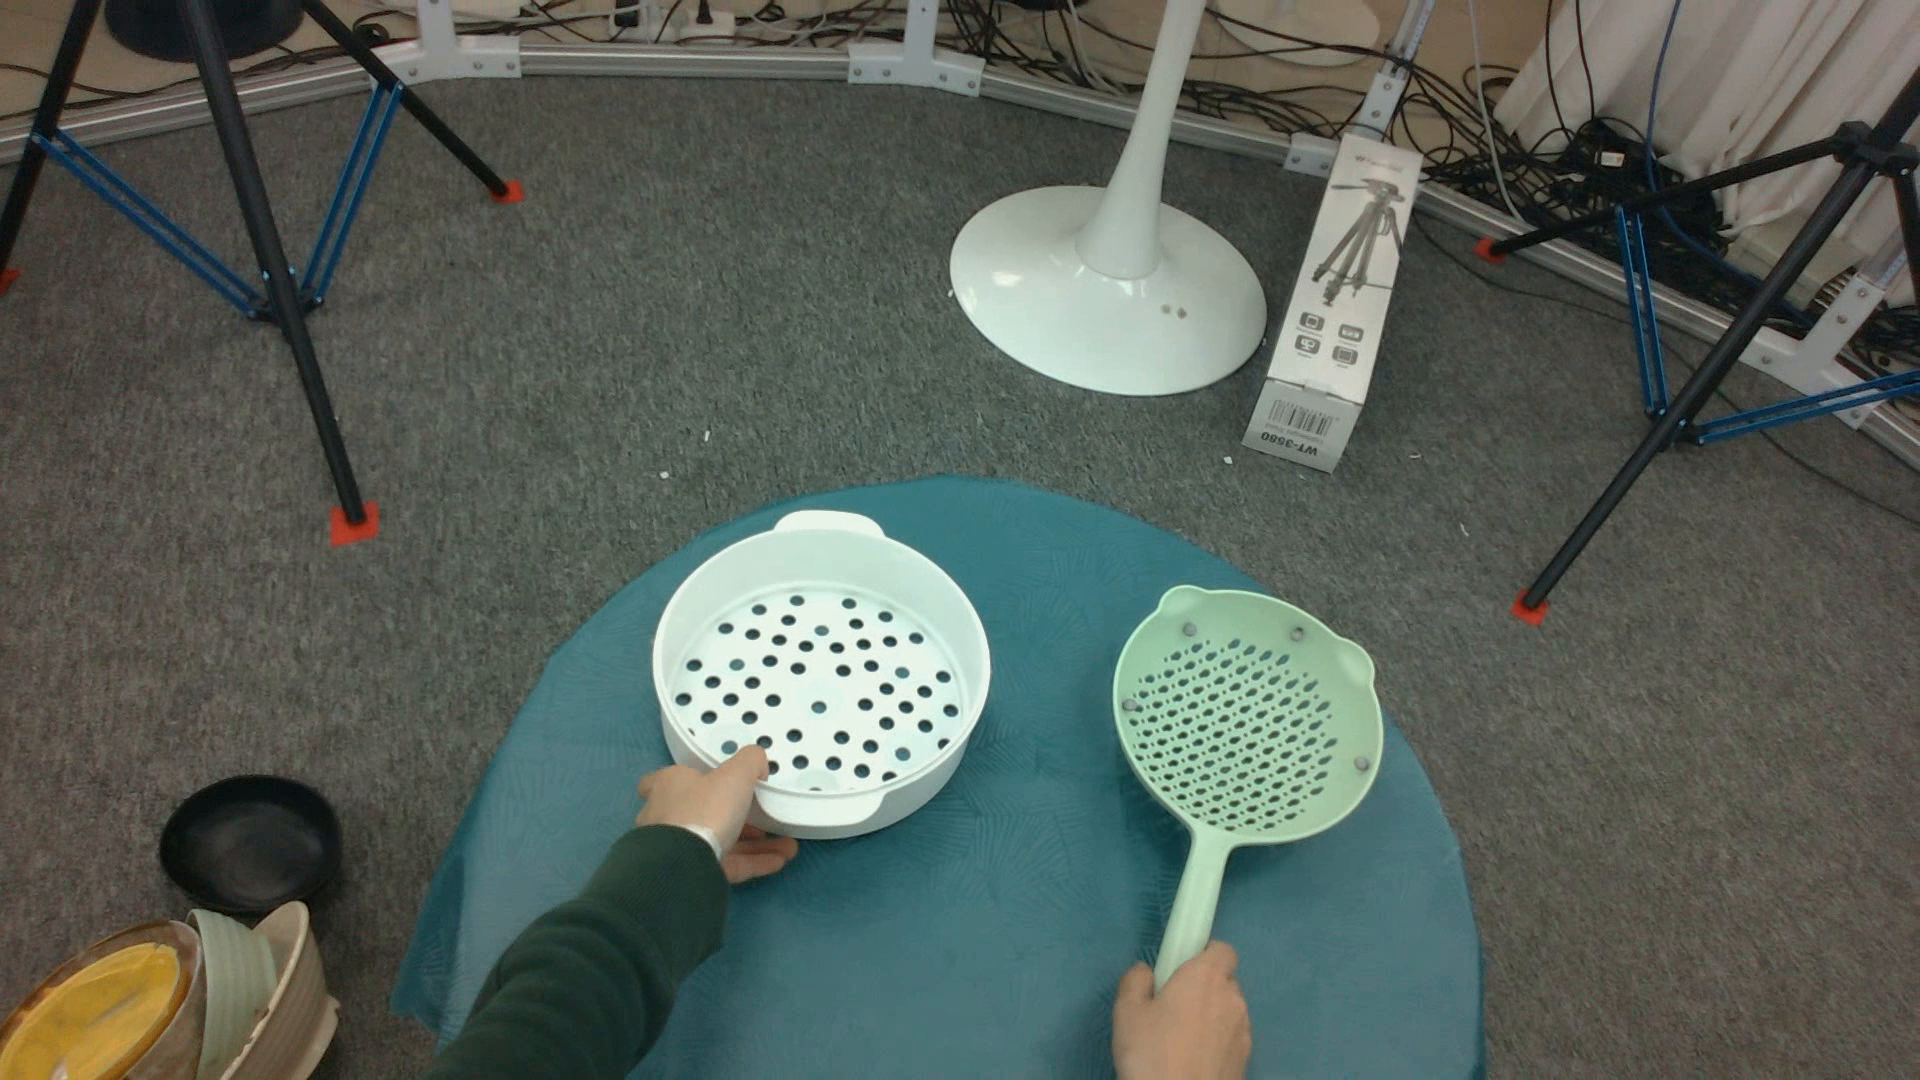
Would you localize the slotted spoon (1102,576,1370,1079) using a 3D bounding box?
[{"bbox_3d":[0.137,0.180,0.805,0.169,0.075,0.361,20,49,6],"label":"slotted spoon"}]

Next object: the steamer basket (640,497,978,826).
[{"bbox_3d":[-0.092,0.078,0.846,0.202,0.069,0.231,2,50,-8],"label":"steamer basket"}]
